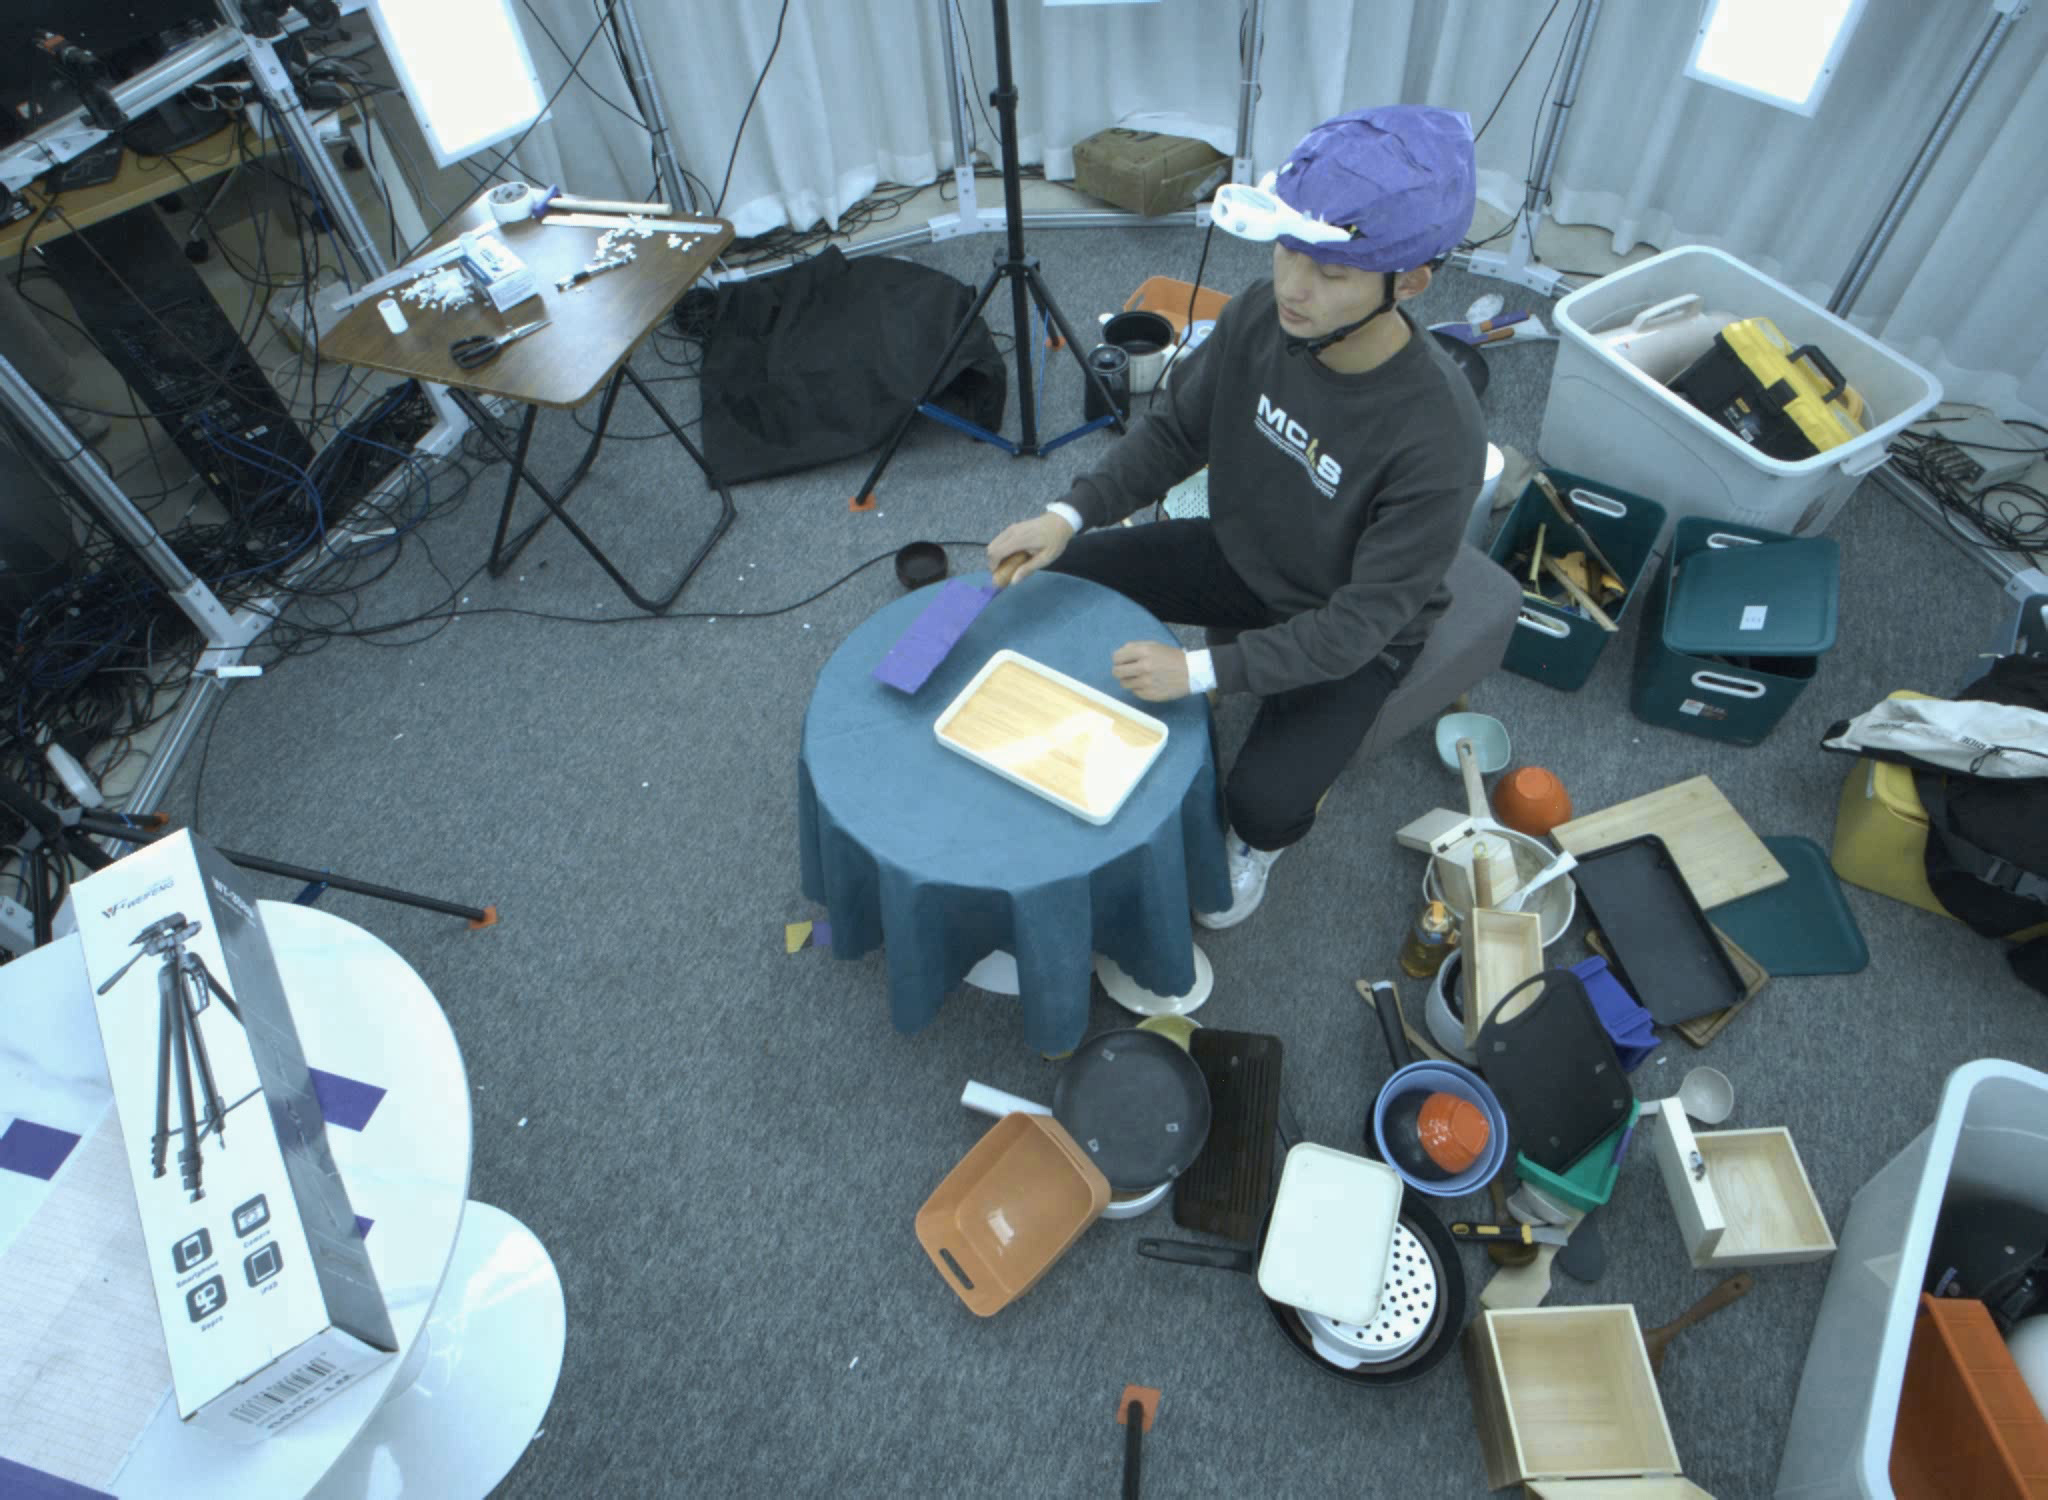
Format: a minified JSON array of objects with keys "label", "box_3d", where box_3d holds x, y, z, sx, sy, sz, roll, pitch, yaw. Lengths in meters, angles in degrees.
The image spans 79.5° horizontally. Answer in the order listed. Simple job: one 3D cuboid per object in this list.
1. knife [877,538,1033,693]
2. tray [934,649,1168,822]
[{"label":"knife","box_3d":[-0.108,-0.217,1.870,0.102,0.033,0.316,24,64,29]},{"label":"tray","box_3d":[0.039,-0.026,1.796,0.296,0.028,0.192,27,59,19]}]
